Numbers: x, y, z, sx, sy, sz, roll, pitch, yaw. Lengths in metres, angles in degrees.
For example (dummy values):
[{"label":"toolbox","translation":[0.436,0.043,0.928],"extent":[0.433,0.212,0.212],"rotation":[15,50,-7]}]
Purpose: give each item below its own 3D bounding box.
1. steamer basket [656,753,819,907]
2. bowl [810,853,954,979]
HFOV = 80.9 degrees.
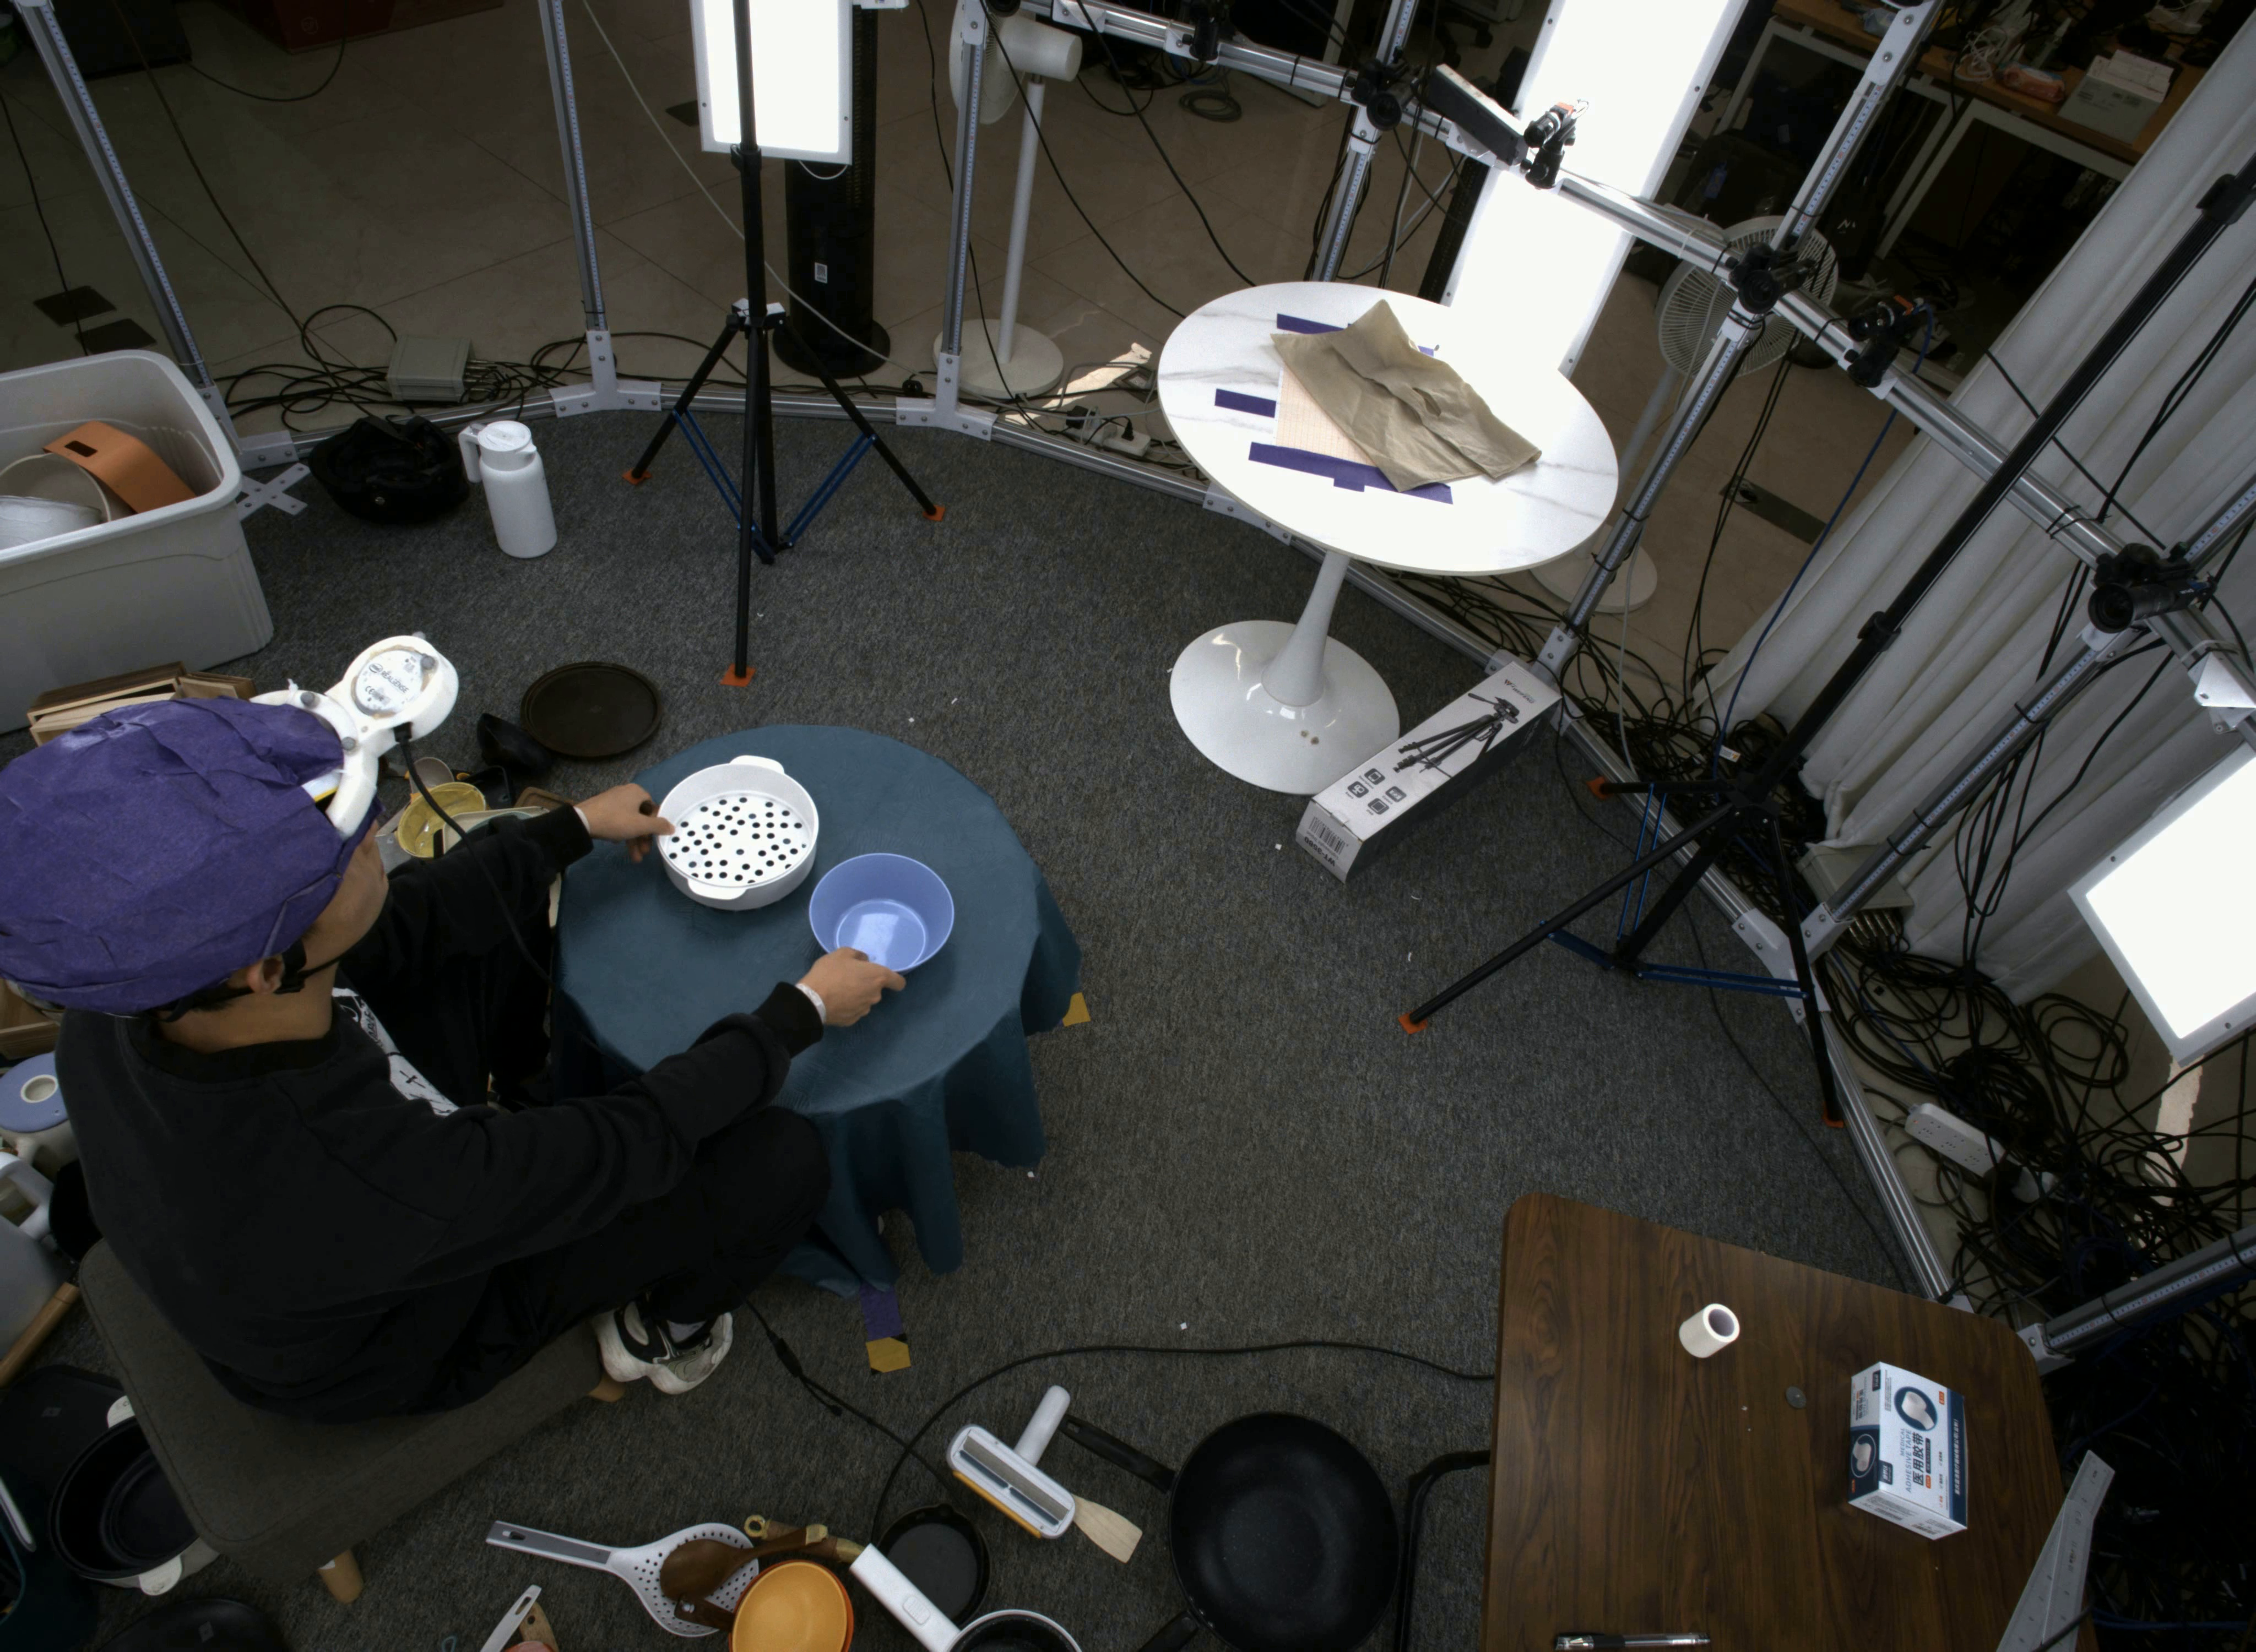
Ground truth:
[{"label":"steamer basket","translation":[-0.499,0.010,1.658],"extent":[0.201,0.071,0.226],"rotation":[10,50,-7]},{"label":"bowl","translation":[-0.305,0.122,1.623],"extent":[0.175,0.072,0.173],"rotation":[7,52,-7]}]
